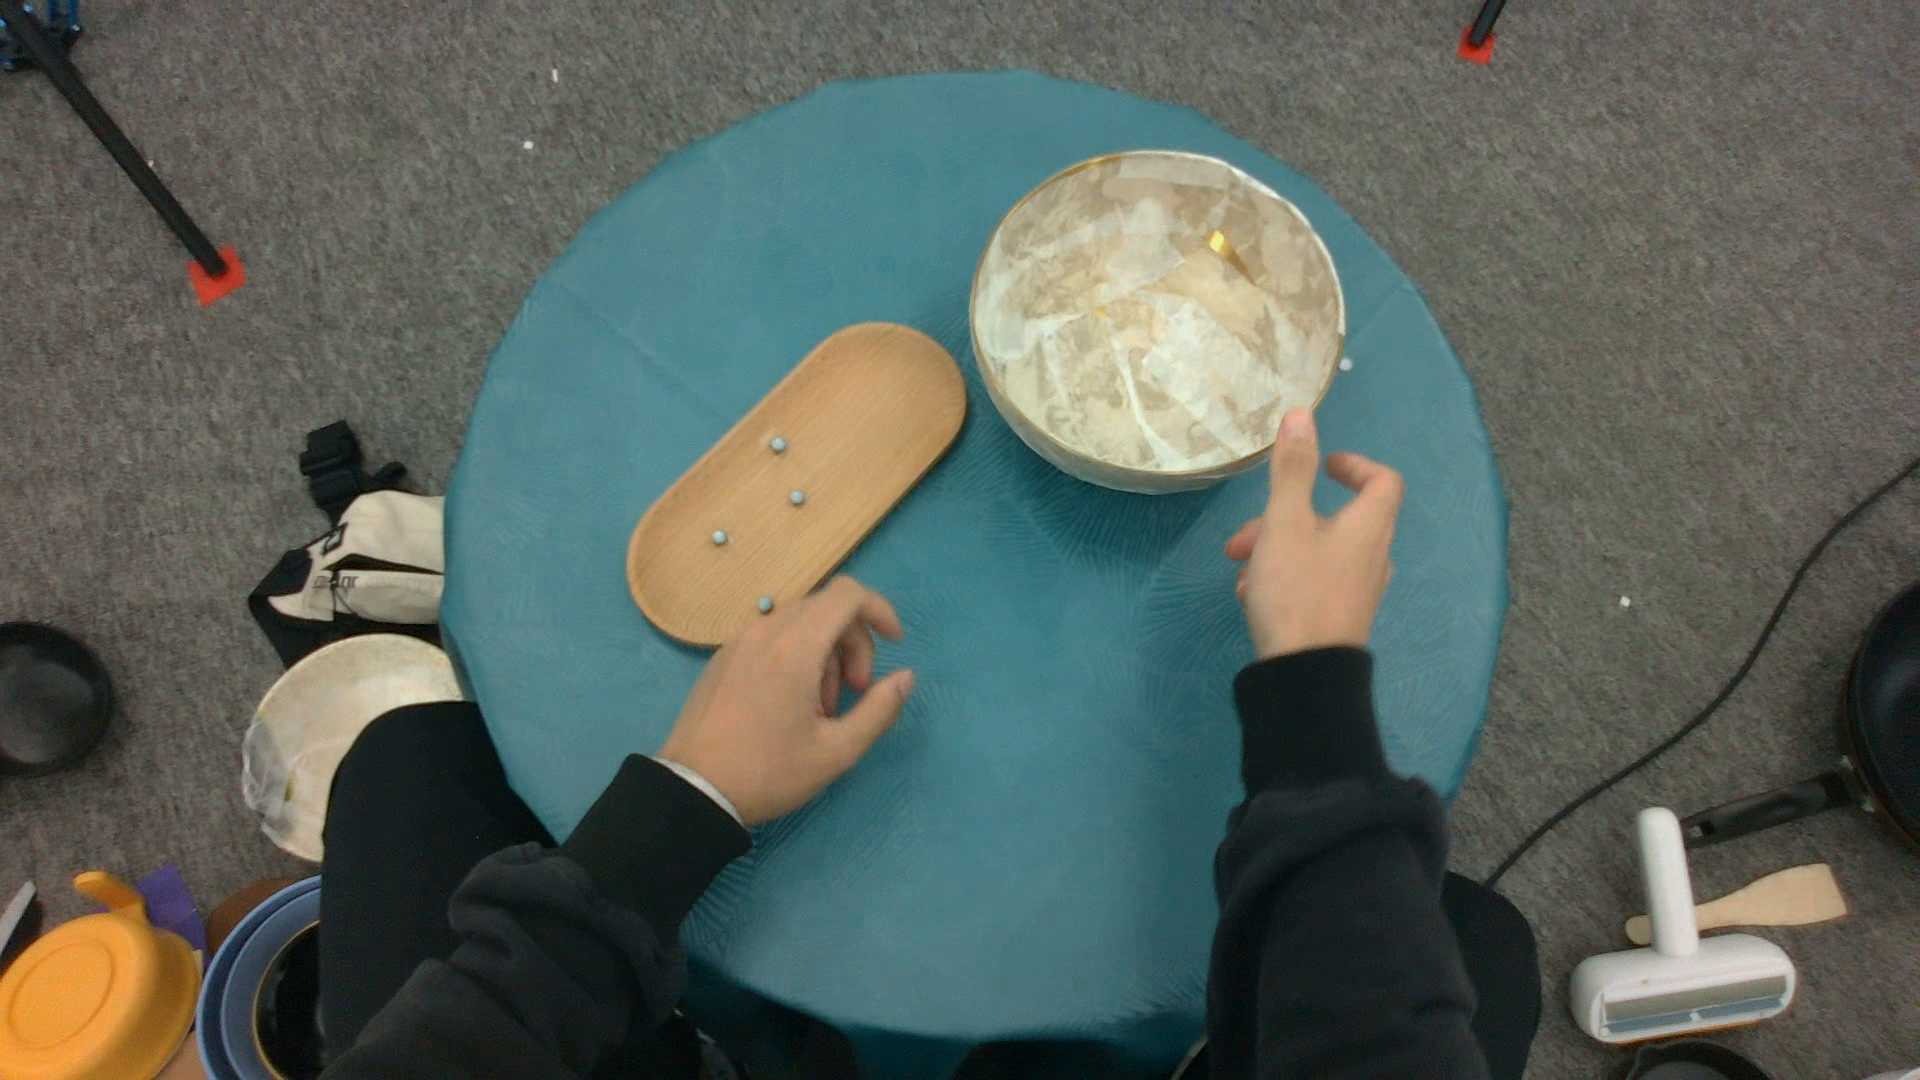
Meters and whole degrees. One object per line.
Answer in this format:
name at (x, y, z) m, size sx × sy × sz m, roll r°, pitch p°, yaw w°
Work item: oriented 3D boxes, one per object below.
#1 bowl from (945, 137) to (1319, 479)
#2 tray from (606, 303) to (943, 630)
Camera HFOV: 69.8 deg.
bowl at (0.087, -0.116, 0.777) m, size 0.215 × 0.094 × 0.215 m, roll 2°, pitch 68°, yaw -4°
tray at (-0.101, -0.045, 0.776) m, size 0.102 × 0.020 × 0.232 m, roll 37°, pitch 68°, yaw 9°
